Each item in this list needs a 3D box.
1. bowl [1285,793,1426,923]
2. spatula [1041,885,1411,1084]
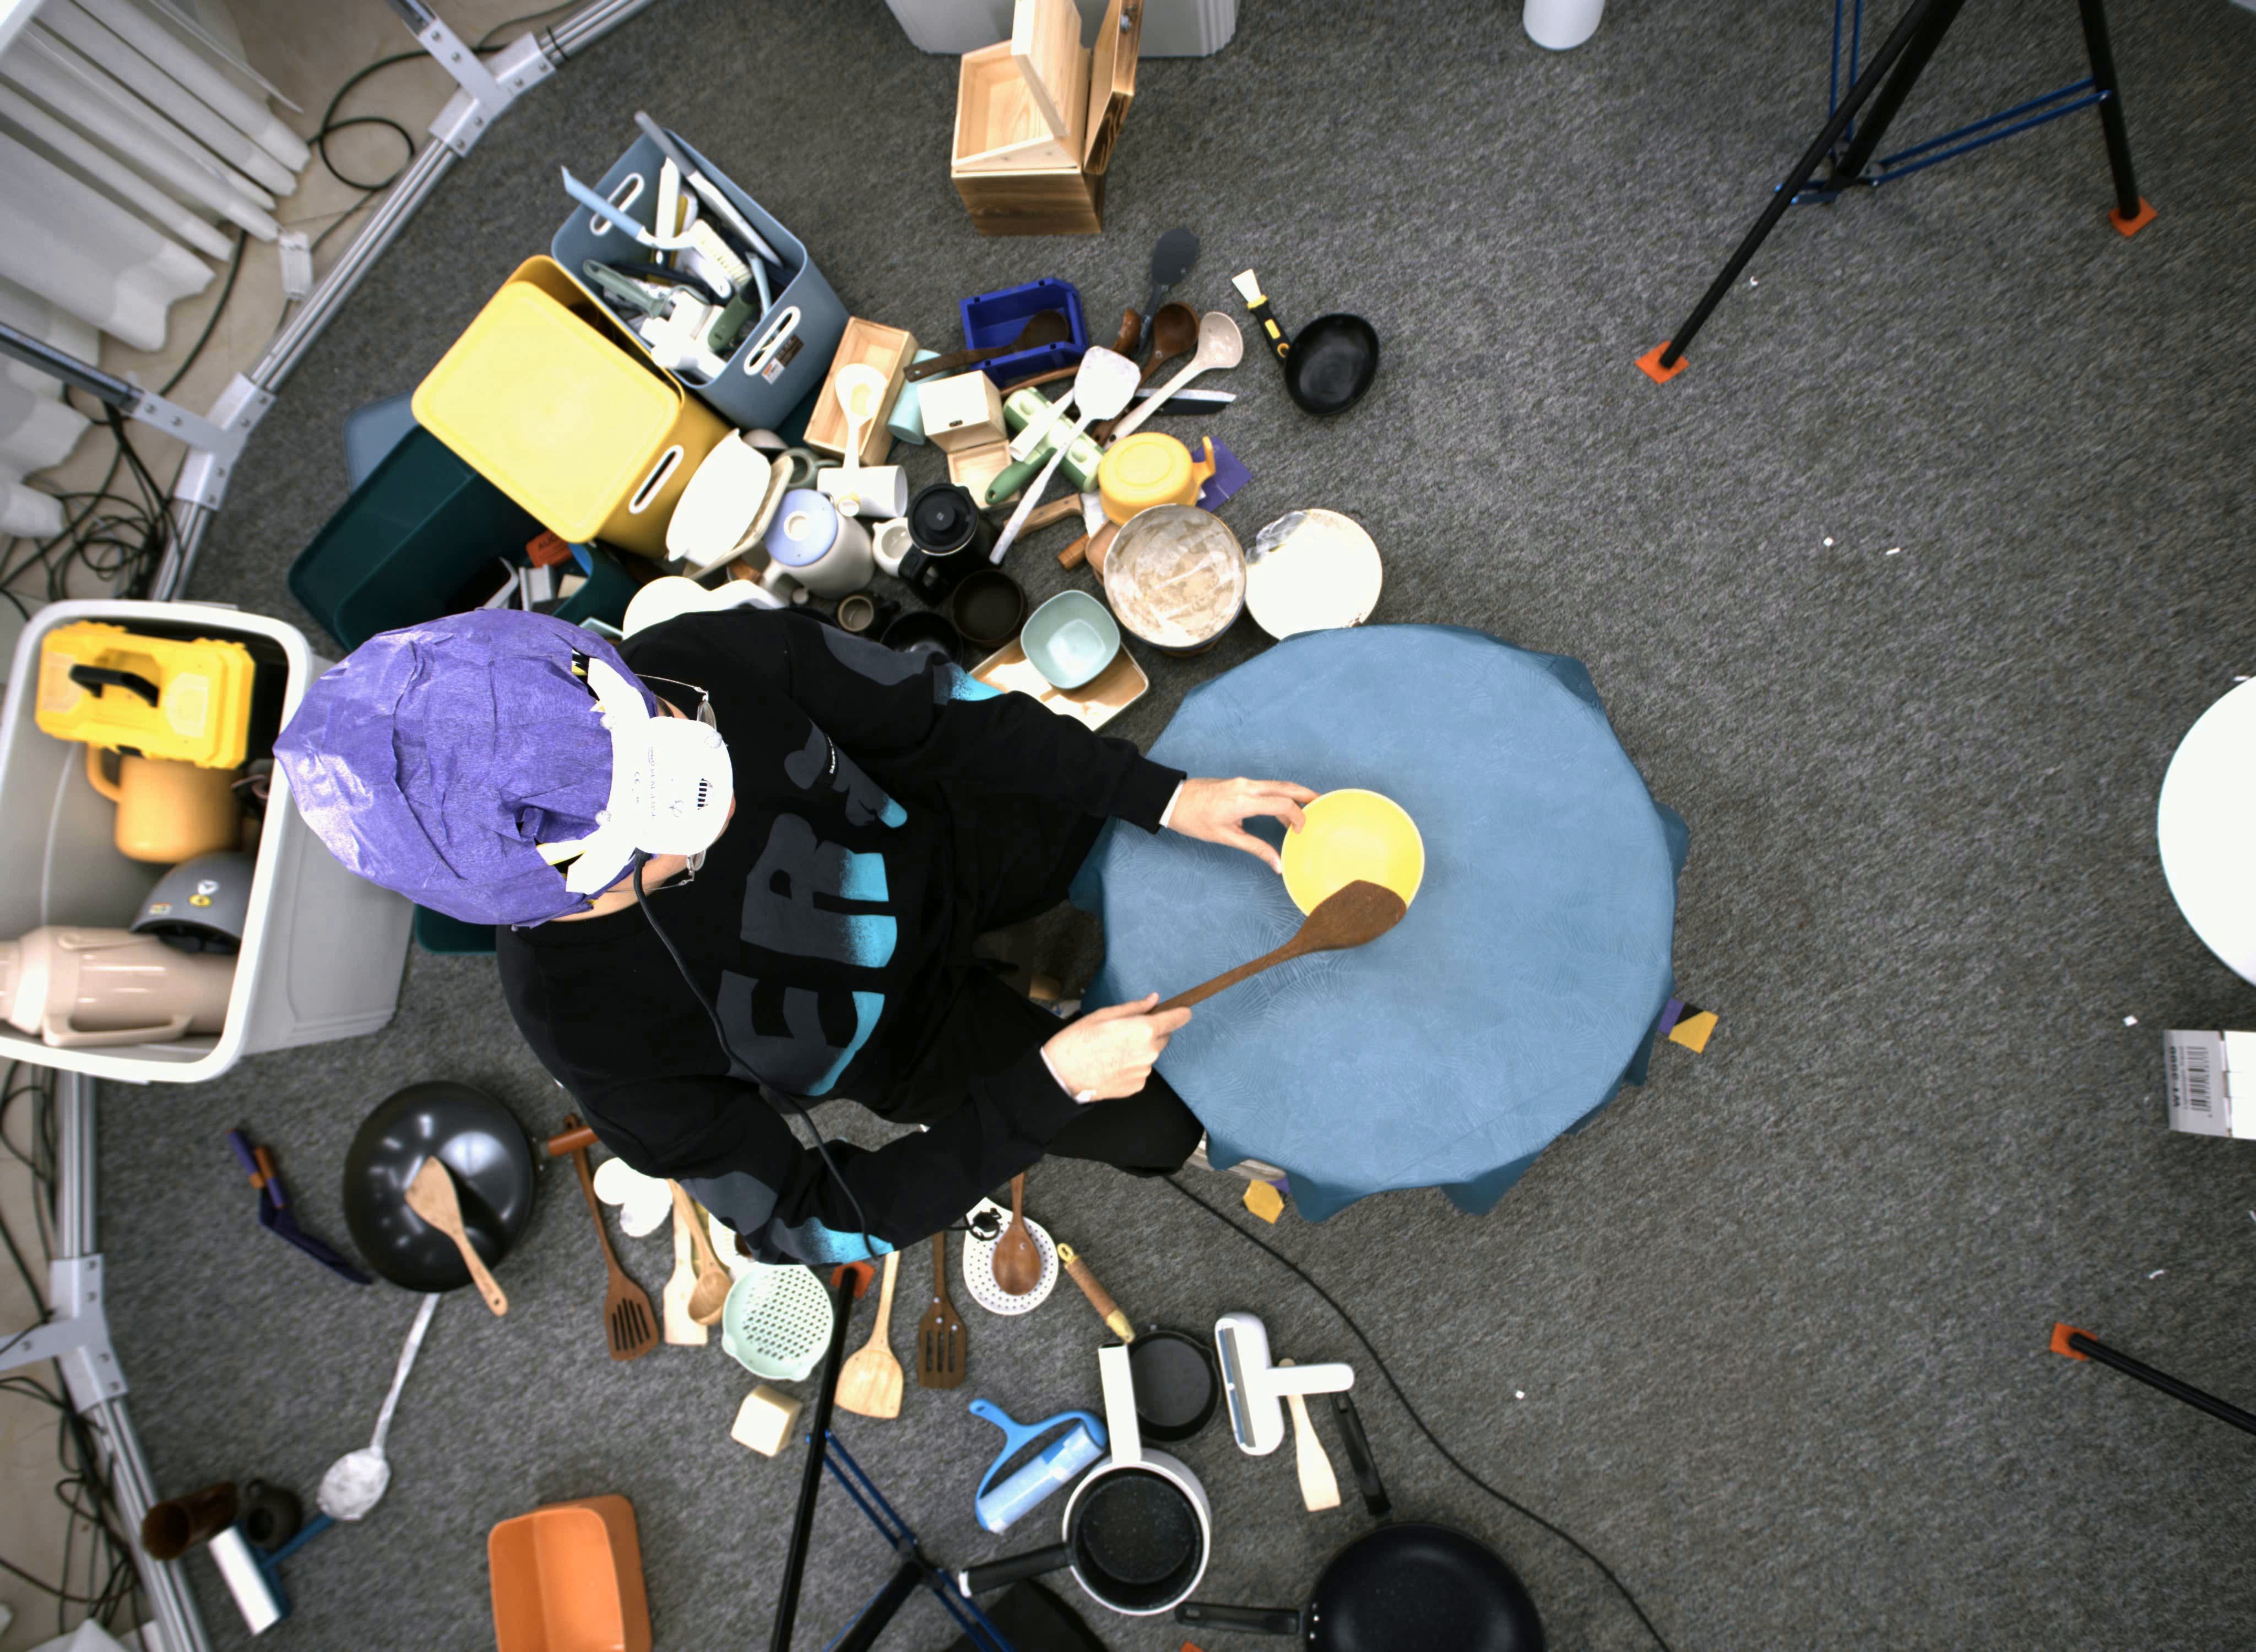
[{"bbox_3d":[0.234,0.039,1.435,0.146,0.060,0.145,0,88,7],"label":"bowl"},{"bbox_3d":[0.091,0.147,1.294,0.383,0.095,0.016,-25,116,-13],"label":"spatula"}]
